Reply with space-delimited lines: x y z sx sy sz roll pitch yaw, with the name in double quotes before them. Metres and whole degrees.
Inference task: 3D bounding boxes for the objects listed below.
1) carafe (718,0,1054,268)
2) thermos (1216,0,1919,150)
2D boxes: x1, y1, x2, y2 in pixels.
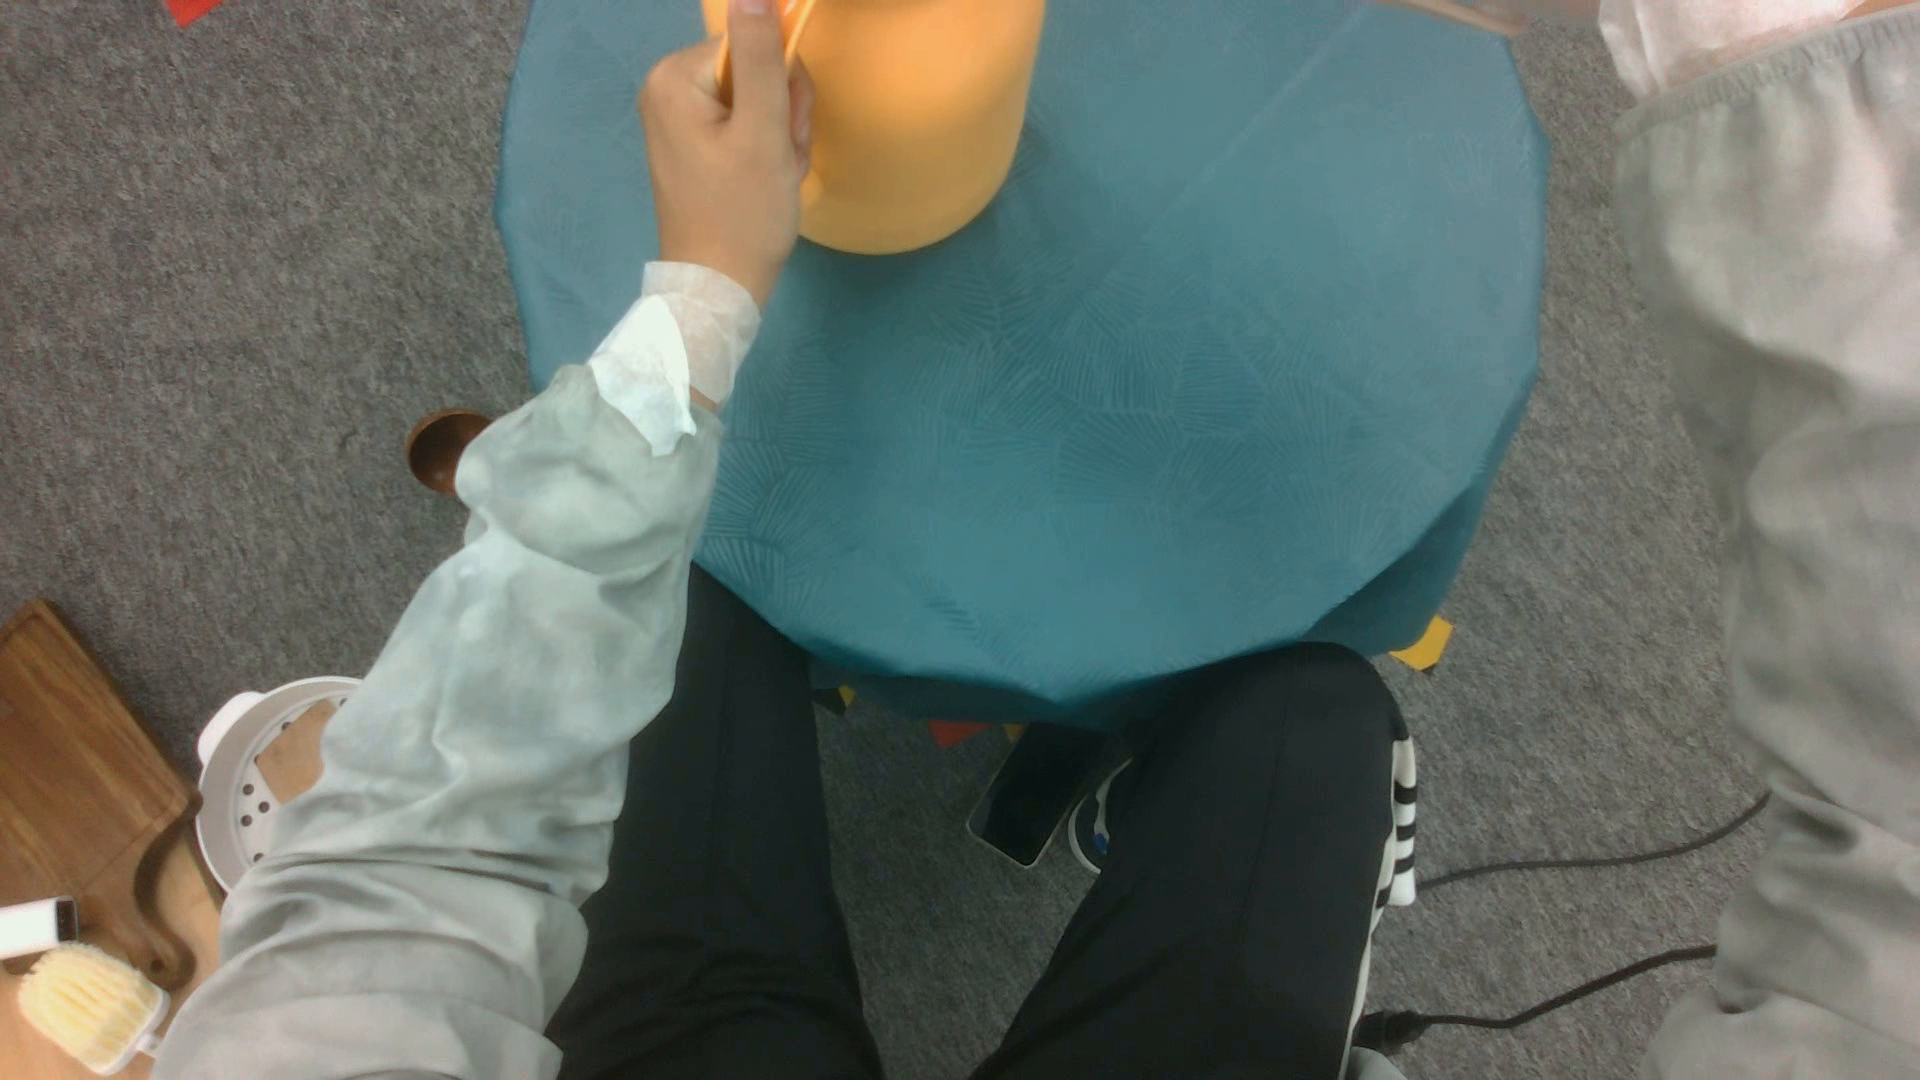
"carafe" -0.046 -0.236 0.666 0.163 0.259 0.203 28 75 5
"thermos" 0.192 -0.243 0.441 0.406 0.207 0.175 12 105 -7
